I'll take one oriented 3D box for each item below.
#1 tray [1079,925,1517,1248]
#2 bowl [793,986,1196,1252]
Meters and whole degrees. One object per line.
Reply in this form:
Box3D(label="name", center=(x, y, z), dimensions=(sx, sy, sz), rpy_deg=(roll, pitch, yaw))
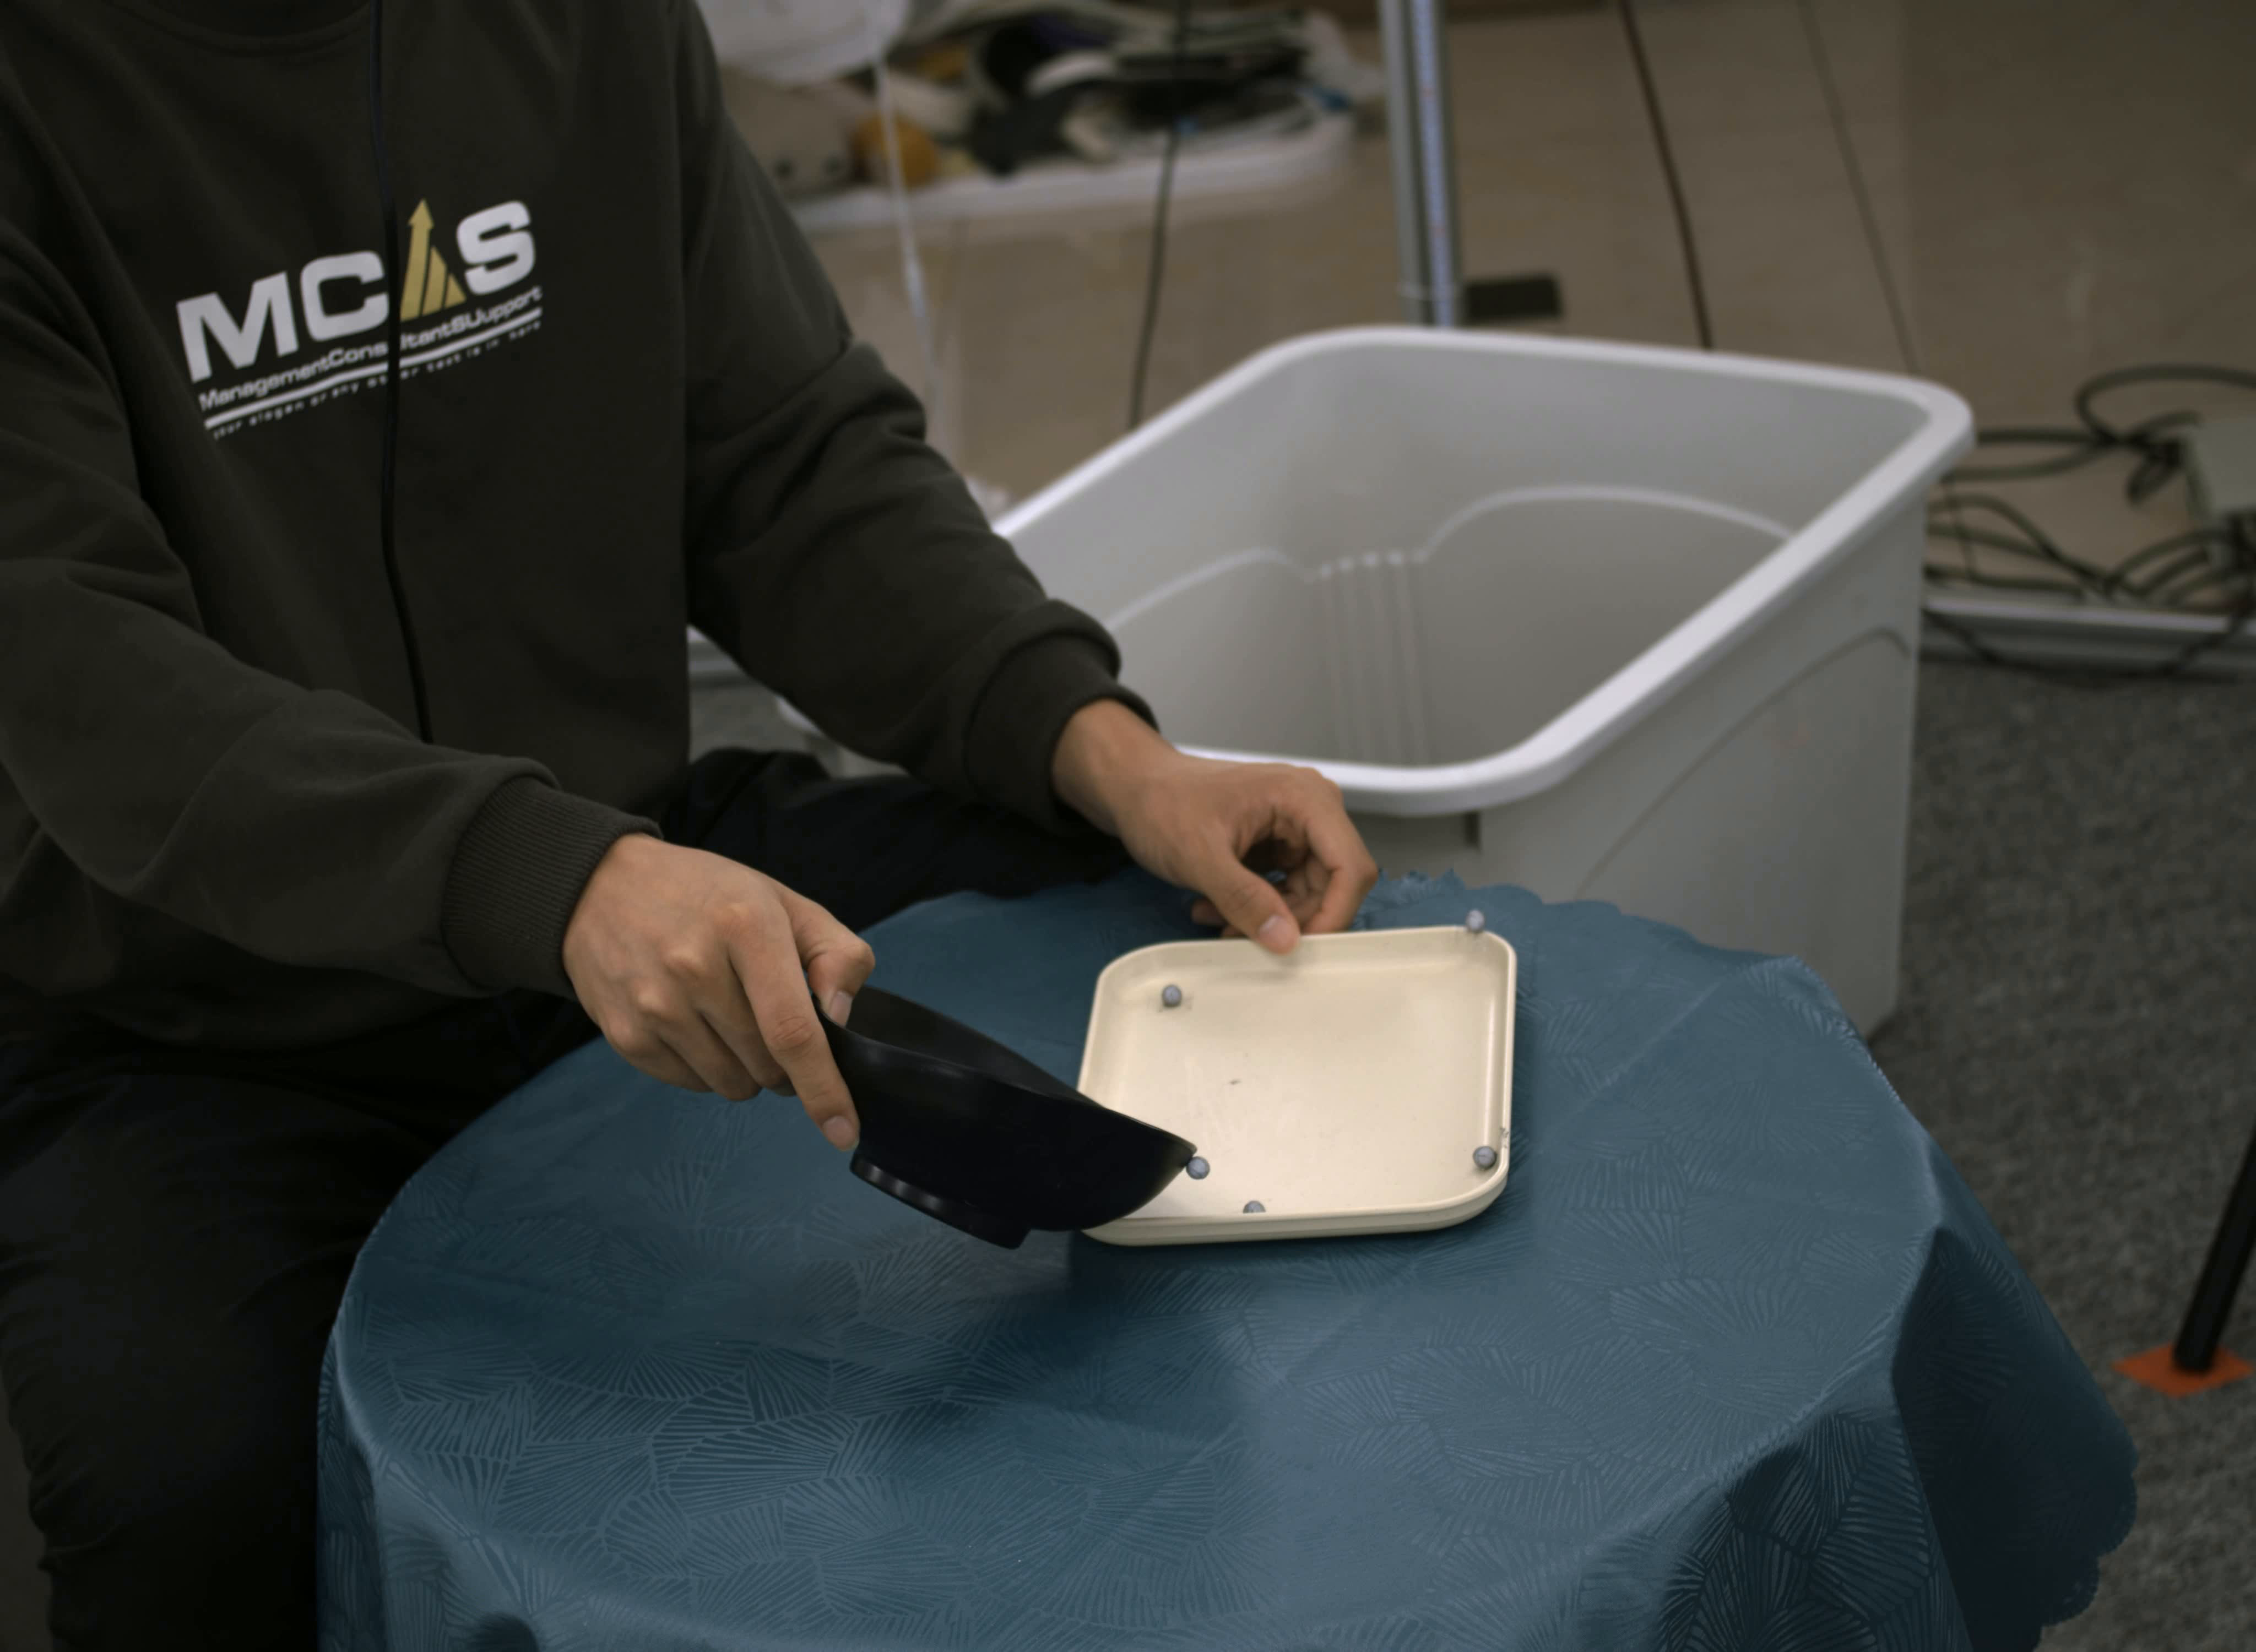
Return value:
Box3D(label="tray", center=(0.066, 0.100, 2.194), dimensions=(0.171, 0.018, 0.236), rpy_deg=(-4, 25, 7))
Box3D(label="bowl", center=(-0.056, 0.113, 2.062), dimensions=(0.136, 0.067, 0.171), rpy_deg=(24, 1, 40))
